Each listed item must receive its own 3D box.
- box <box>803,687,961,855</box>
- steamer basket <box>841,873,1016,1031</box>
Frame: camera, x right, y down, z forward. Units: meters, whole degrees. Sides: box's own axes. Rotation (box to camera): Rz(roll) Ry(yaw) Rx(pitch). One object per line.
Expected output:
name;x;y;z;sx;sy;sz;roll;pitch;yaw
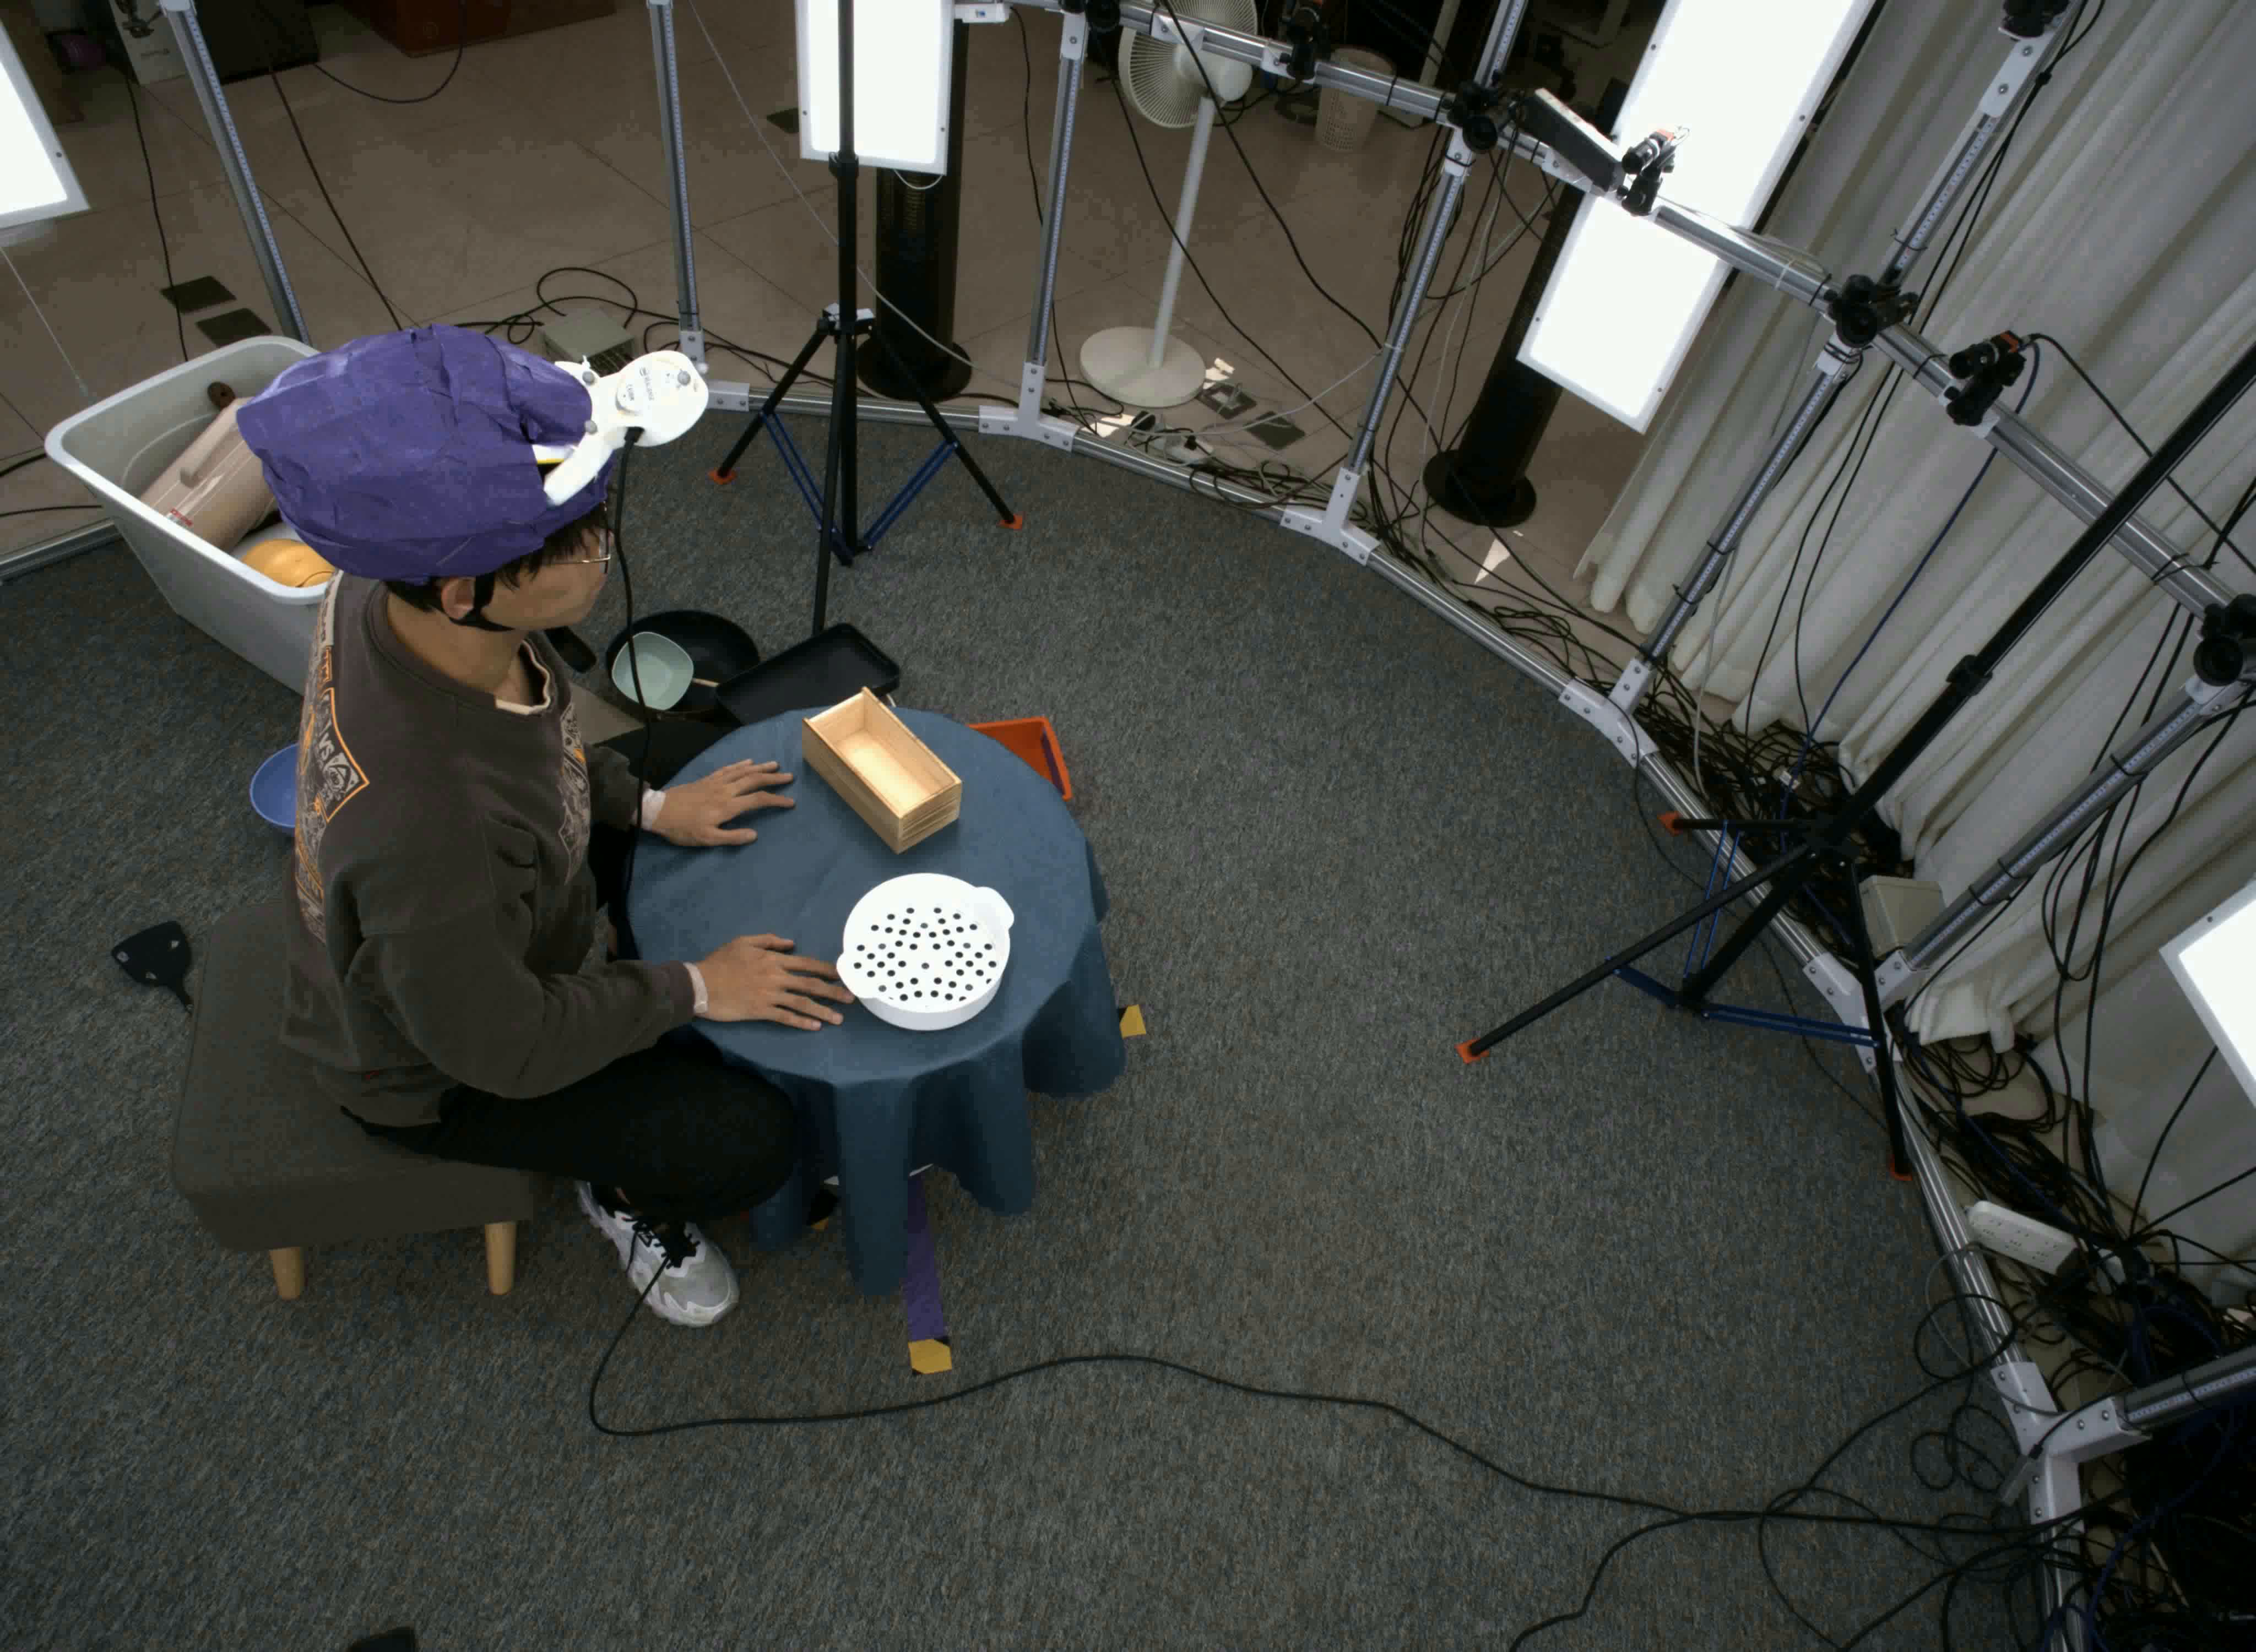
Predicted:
box;-0.334;-0.077;1.765;0.108;0.082;0.206;-36;68;-31
steamer basket;-0.246;0.156;1.624;0.231;0.071;0.197;-28;63;-28
